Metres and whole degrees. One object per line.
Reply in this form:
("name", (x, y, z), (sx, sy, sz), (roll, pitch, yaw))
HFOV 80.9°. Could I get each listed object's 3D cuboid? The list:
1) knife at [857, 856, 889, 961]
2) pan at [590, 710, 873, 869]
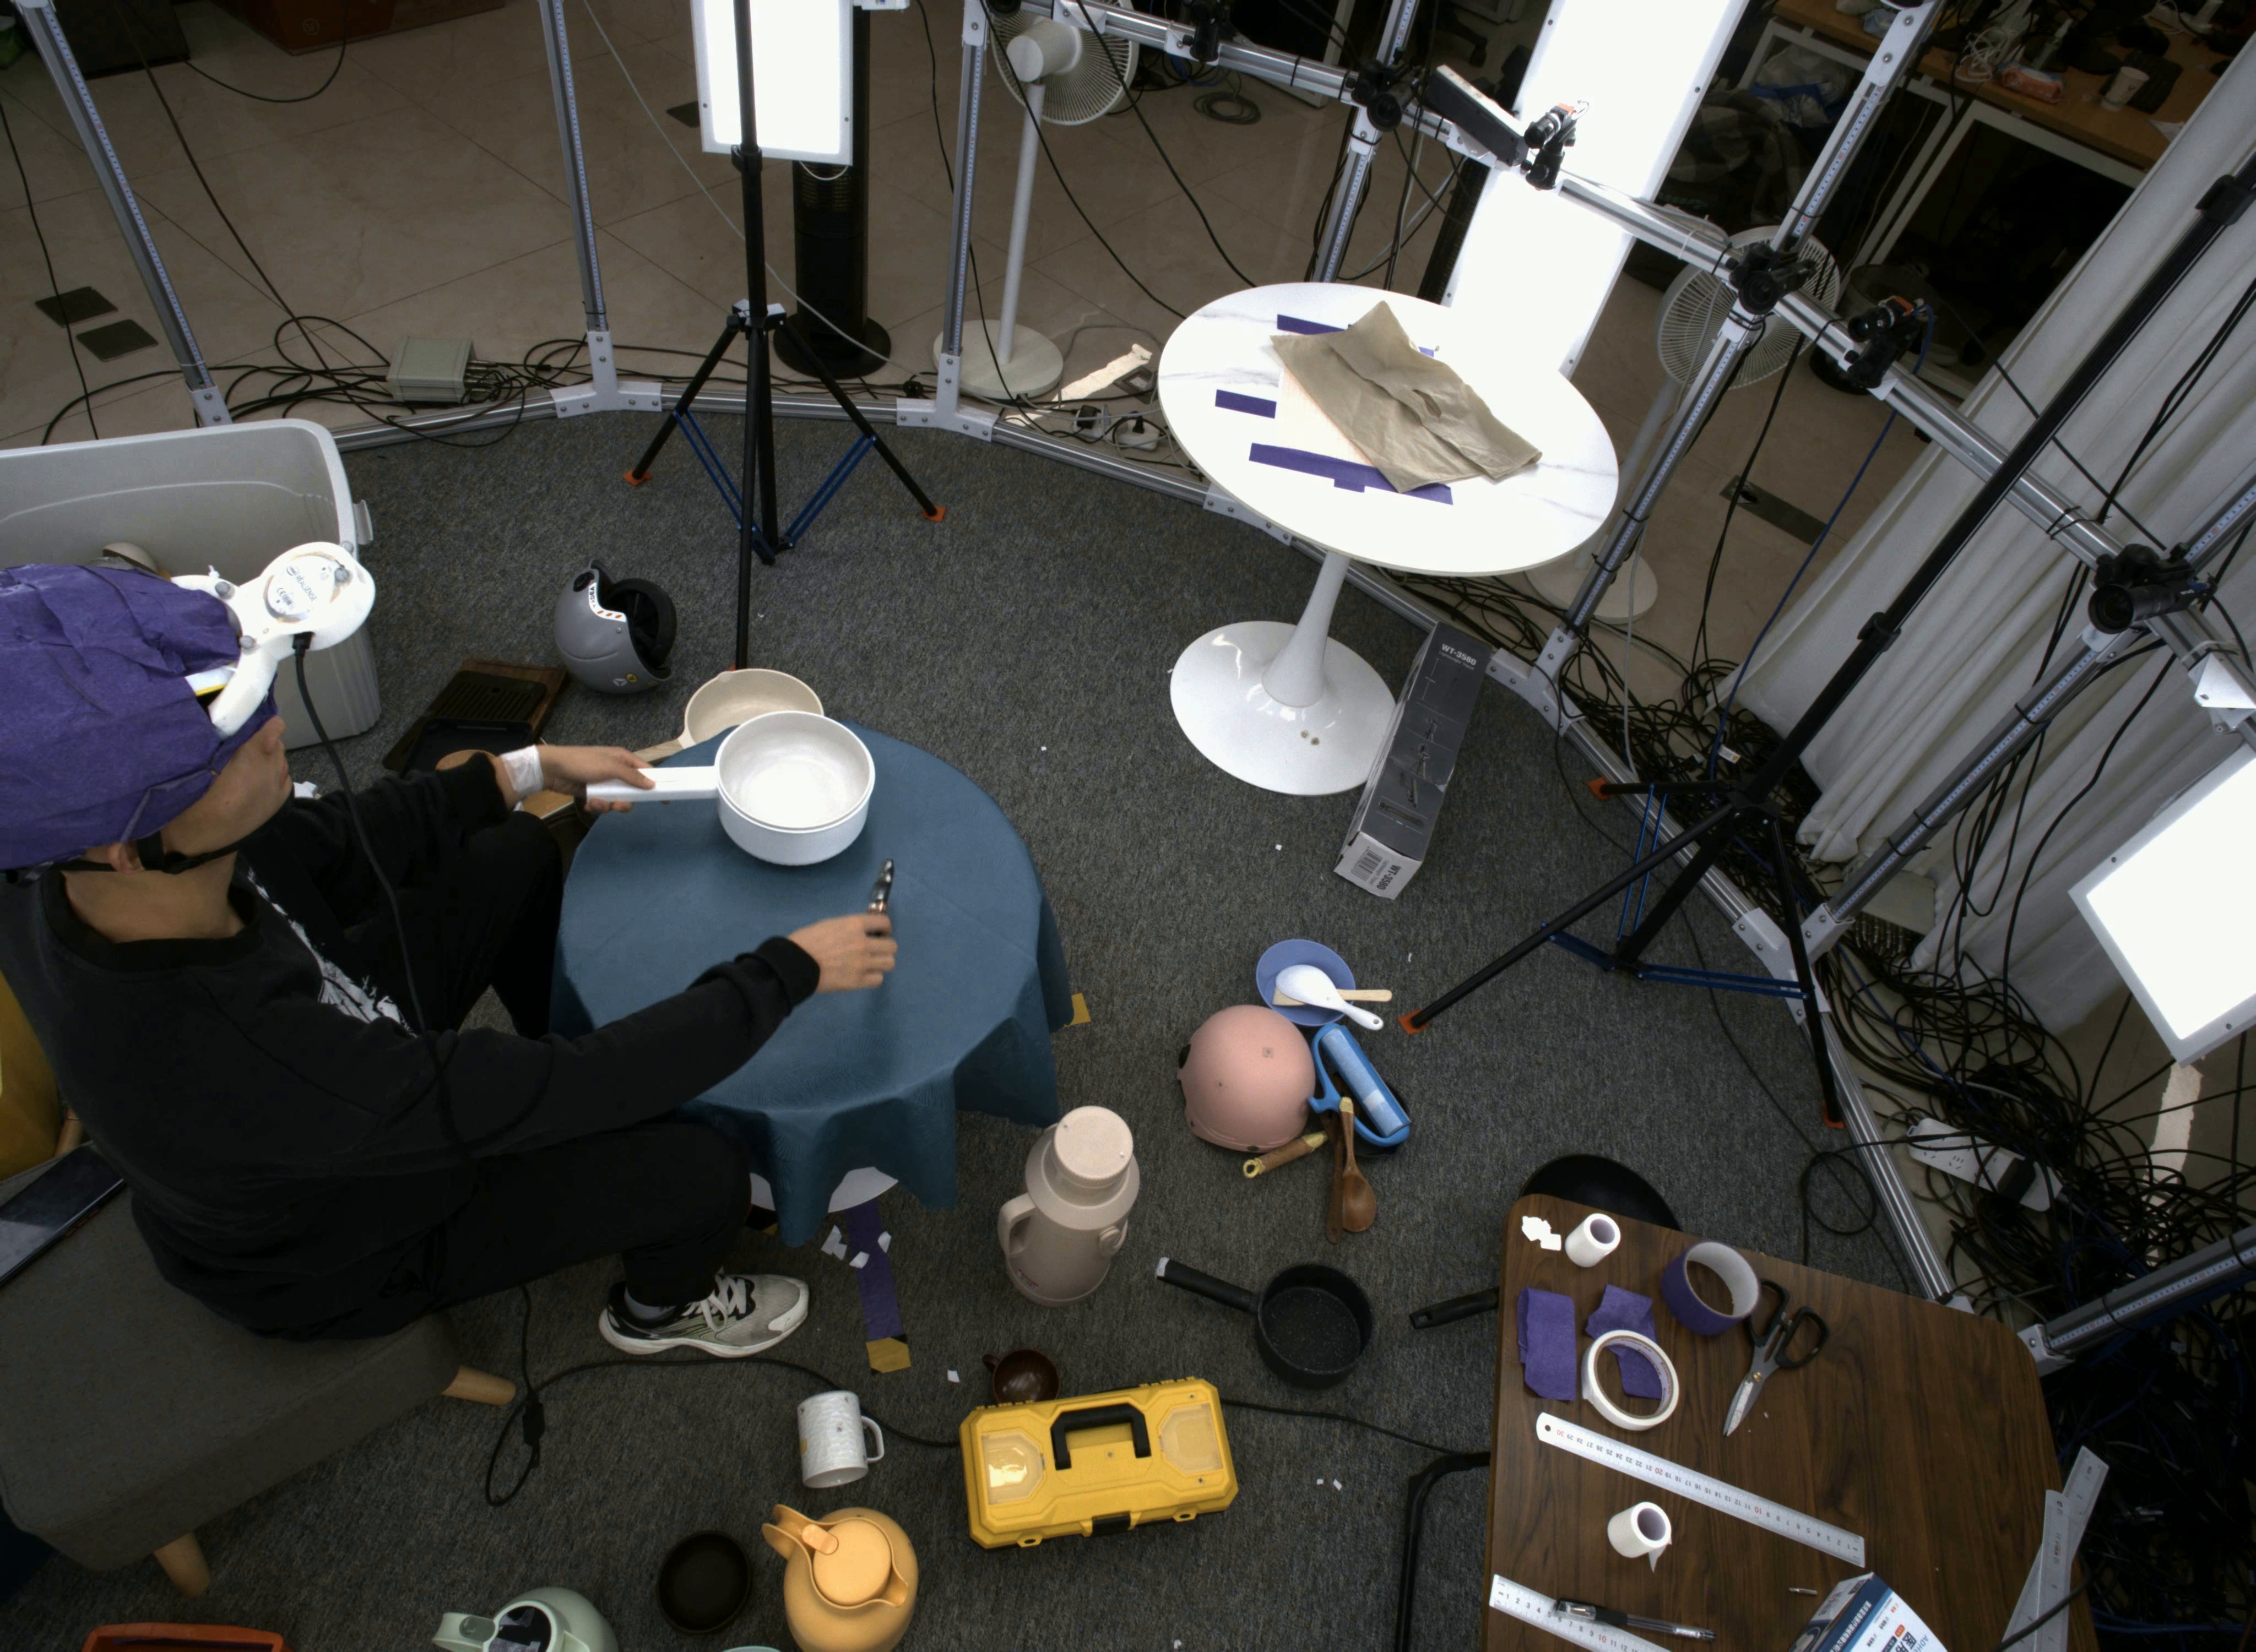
("knife", (-0.303, 0.091, 1.565), (0.026, 0.018, 0.220), (-27, 28, 13))
("pan", (-0.508, -0.037, 1.657), (0.357, 0.103, 0.197), (-5, 57, -21))
